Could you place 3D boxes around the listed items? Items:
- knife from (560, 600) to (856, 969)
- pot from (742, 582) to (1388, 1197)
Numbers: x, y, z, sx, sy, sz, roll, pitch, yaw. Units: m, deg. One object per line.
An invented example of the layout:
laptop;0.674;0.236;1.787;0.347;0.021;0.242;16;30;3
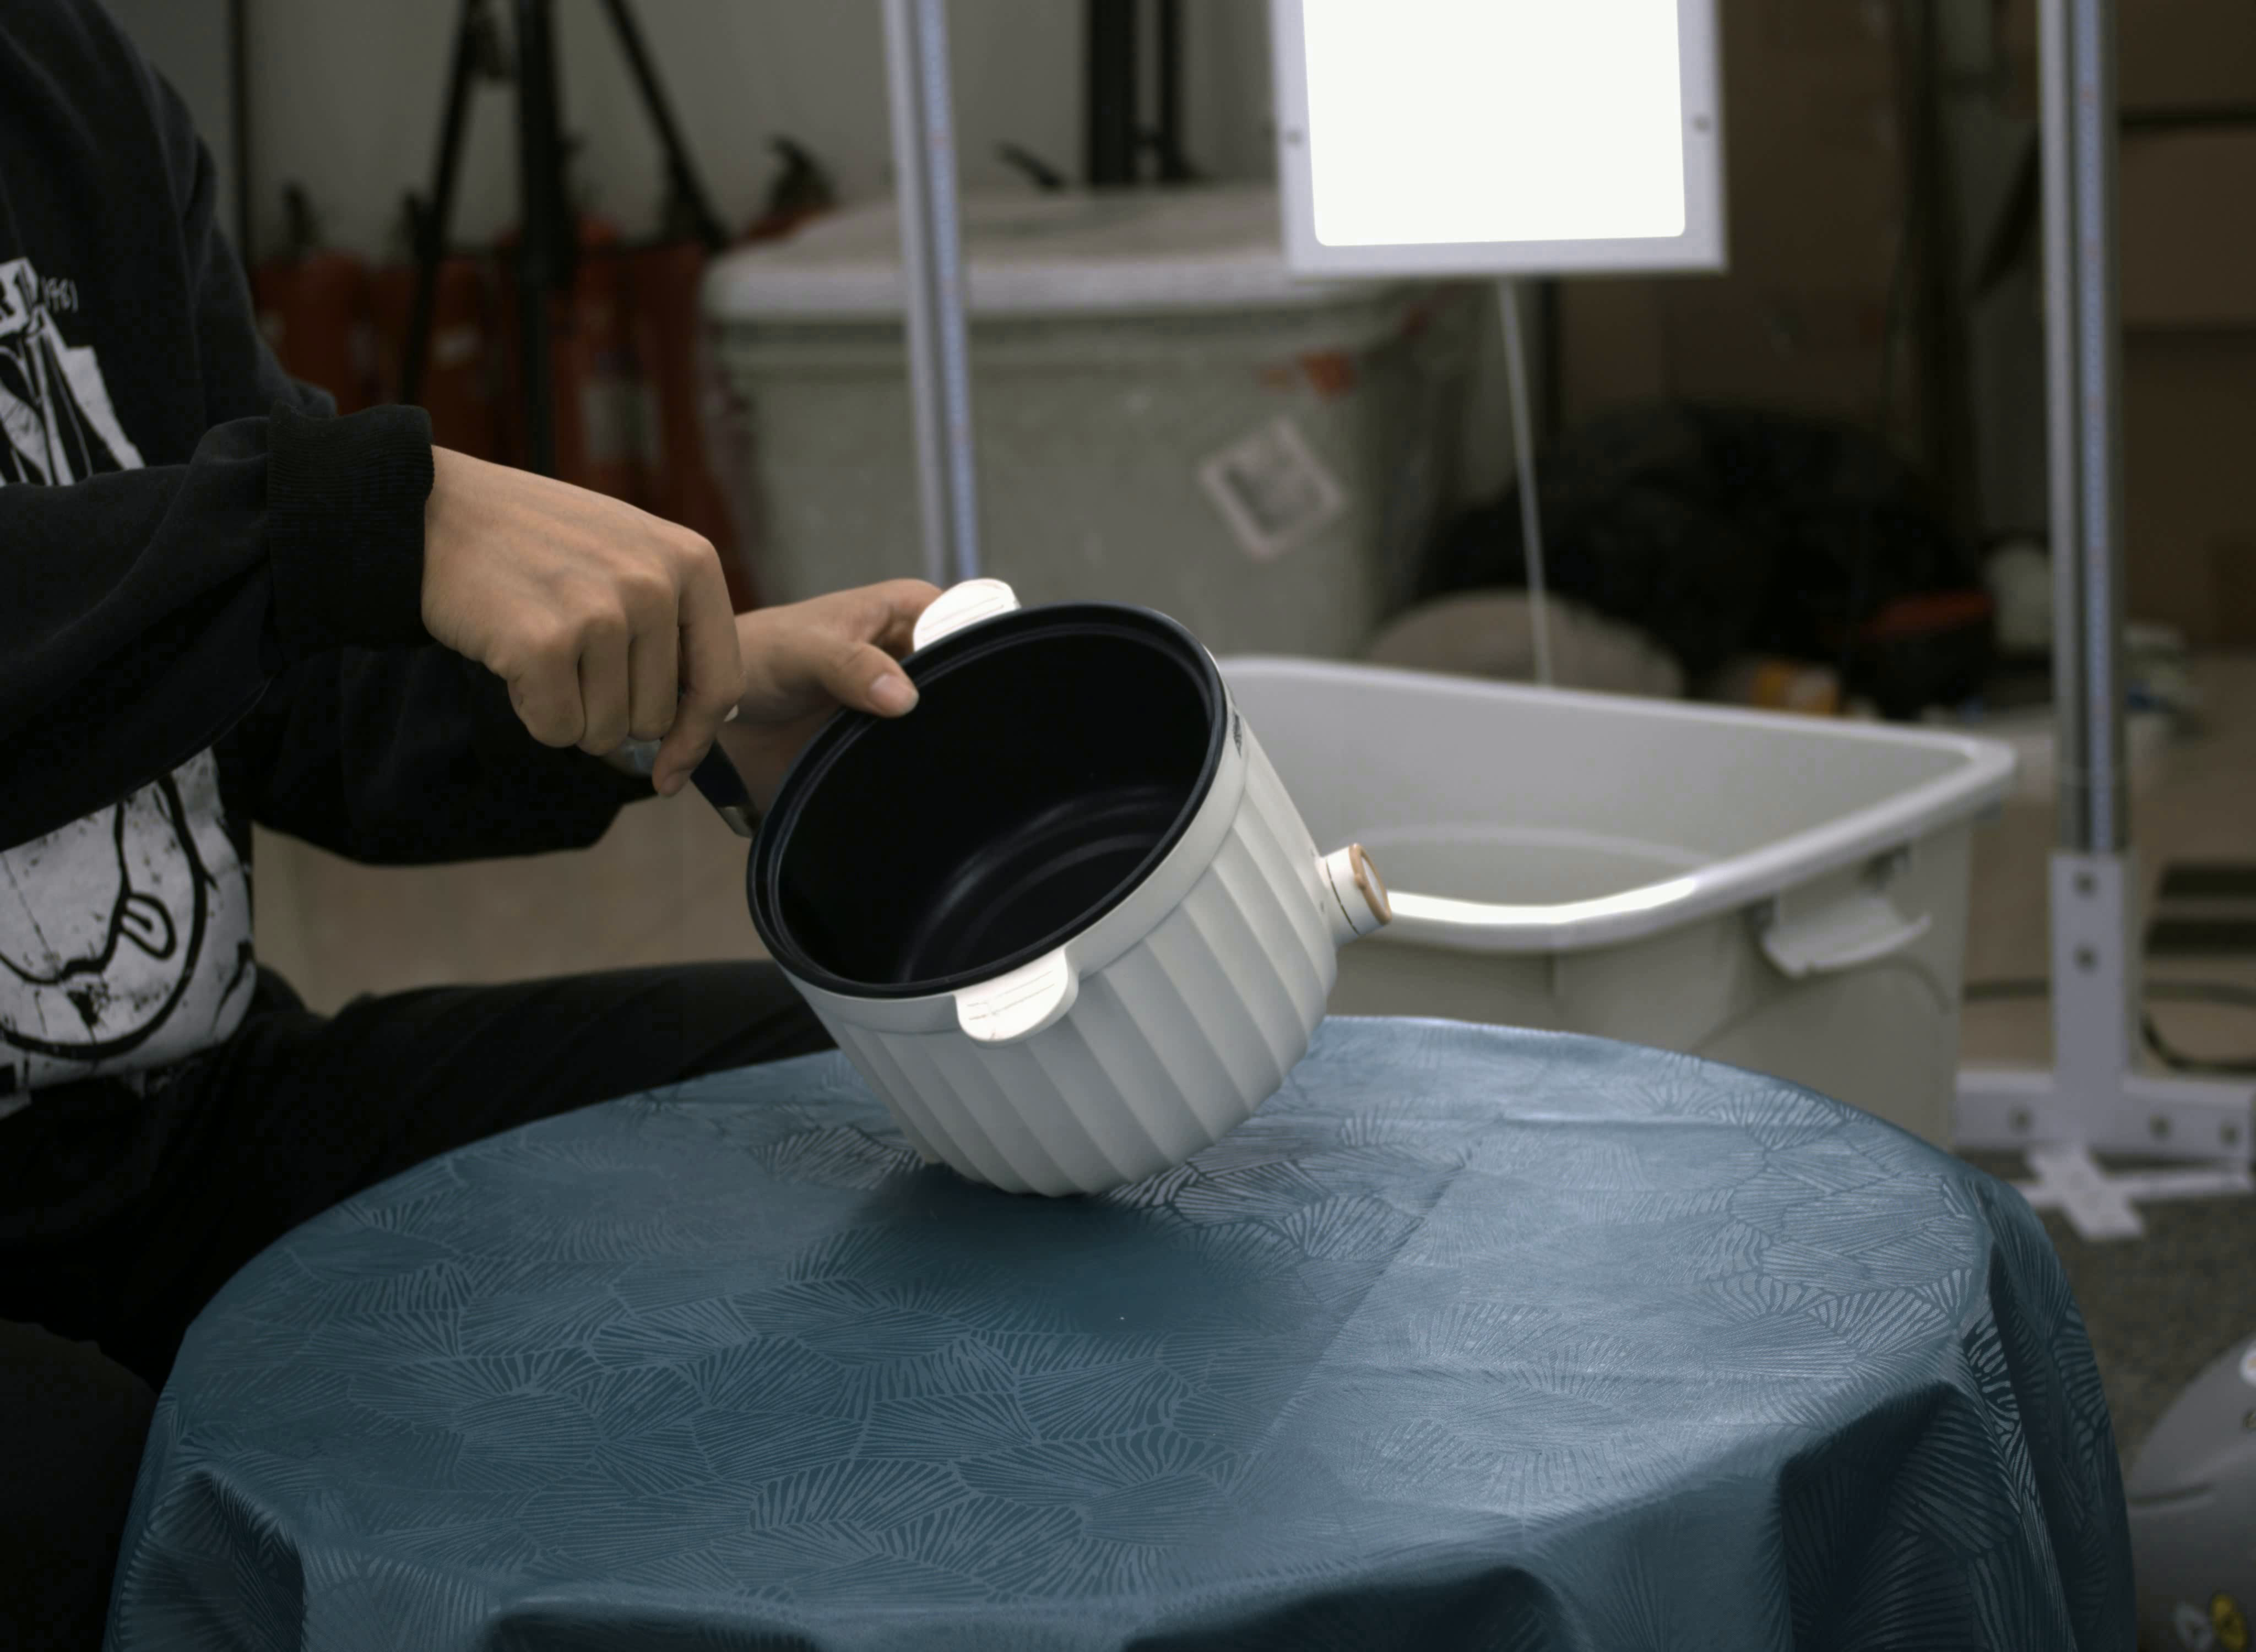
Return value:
knife;-0.132;-0.001;1.870;0.017;0.223;0.026;-43;40;-10
pot;-0.018;0.029;1.906;0.192;0.141;0.240;-27;39;14
